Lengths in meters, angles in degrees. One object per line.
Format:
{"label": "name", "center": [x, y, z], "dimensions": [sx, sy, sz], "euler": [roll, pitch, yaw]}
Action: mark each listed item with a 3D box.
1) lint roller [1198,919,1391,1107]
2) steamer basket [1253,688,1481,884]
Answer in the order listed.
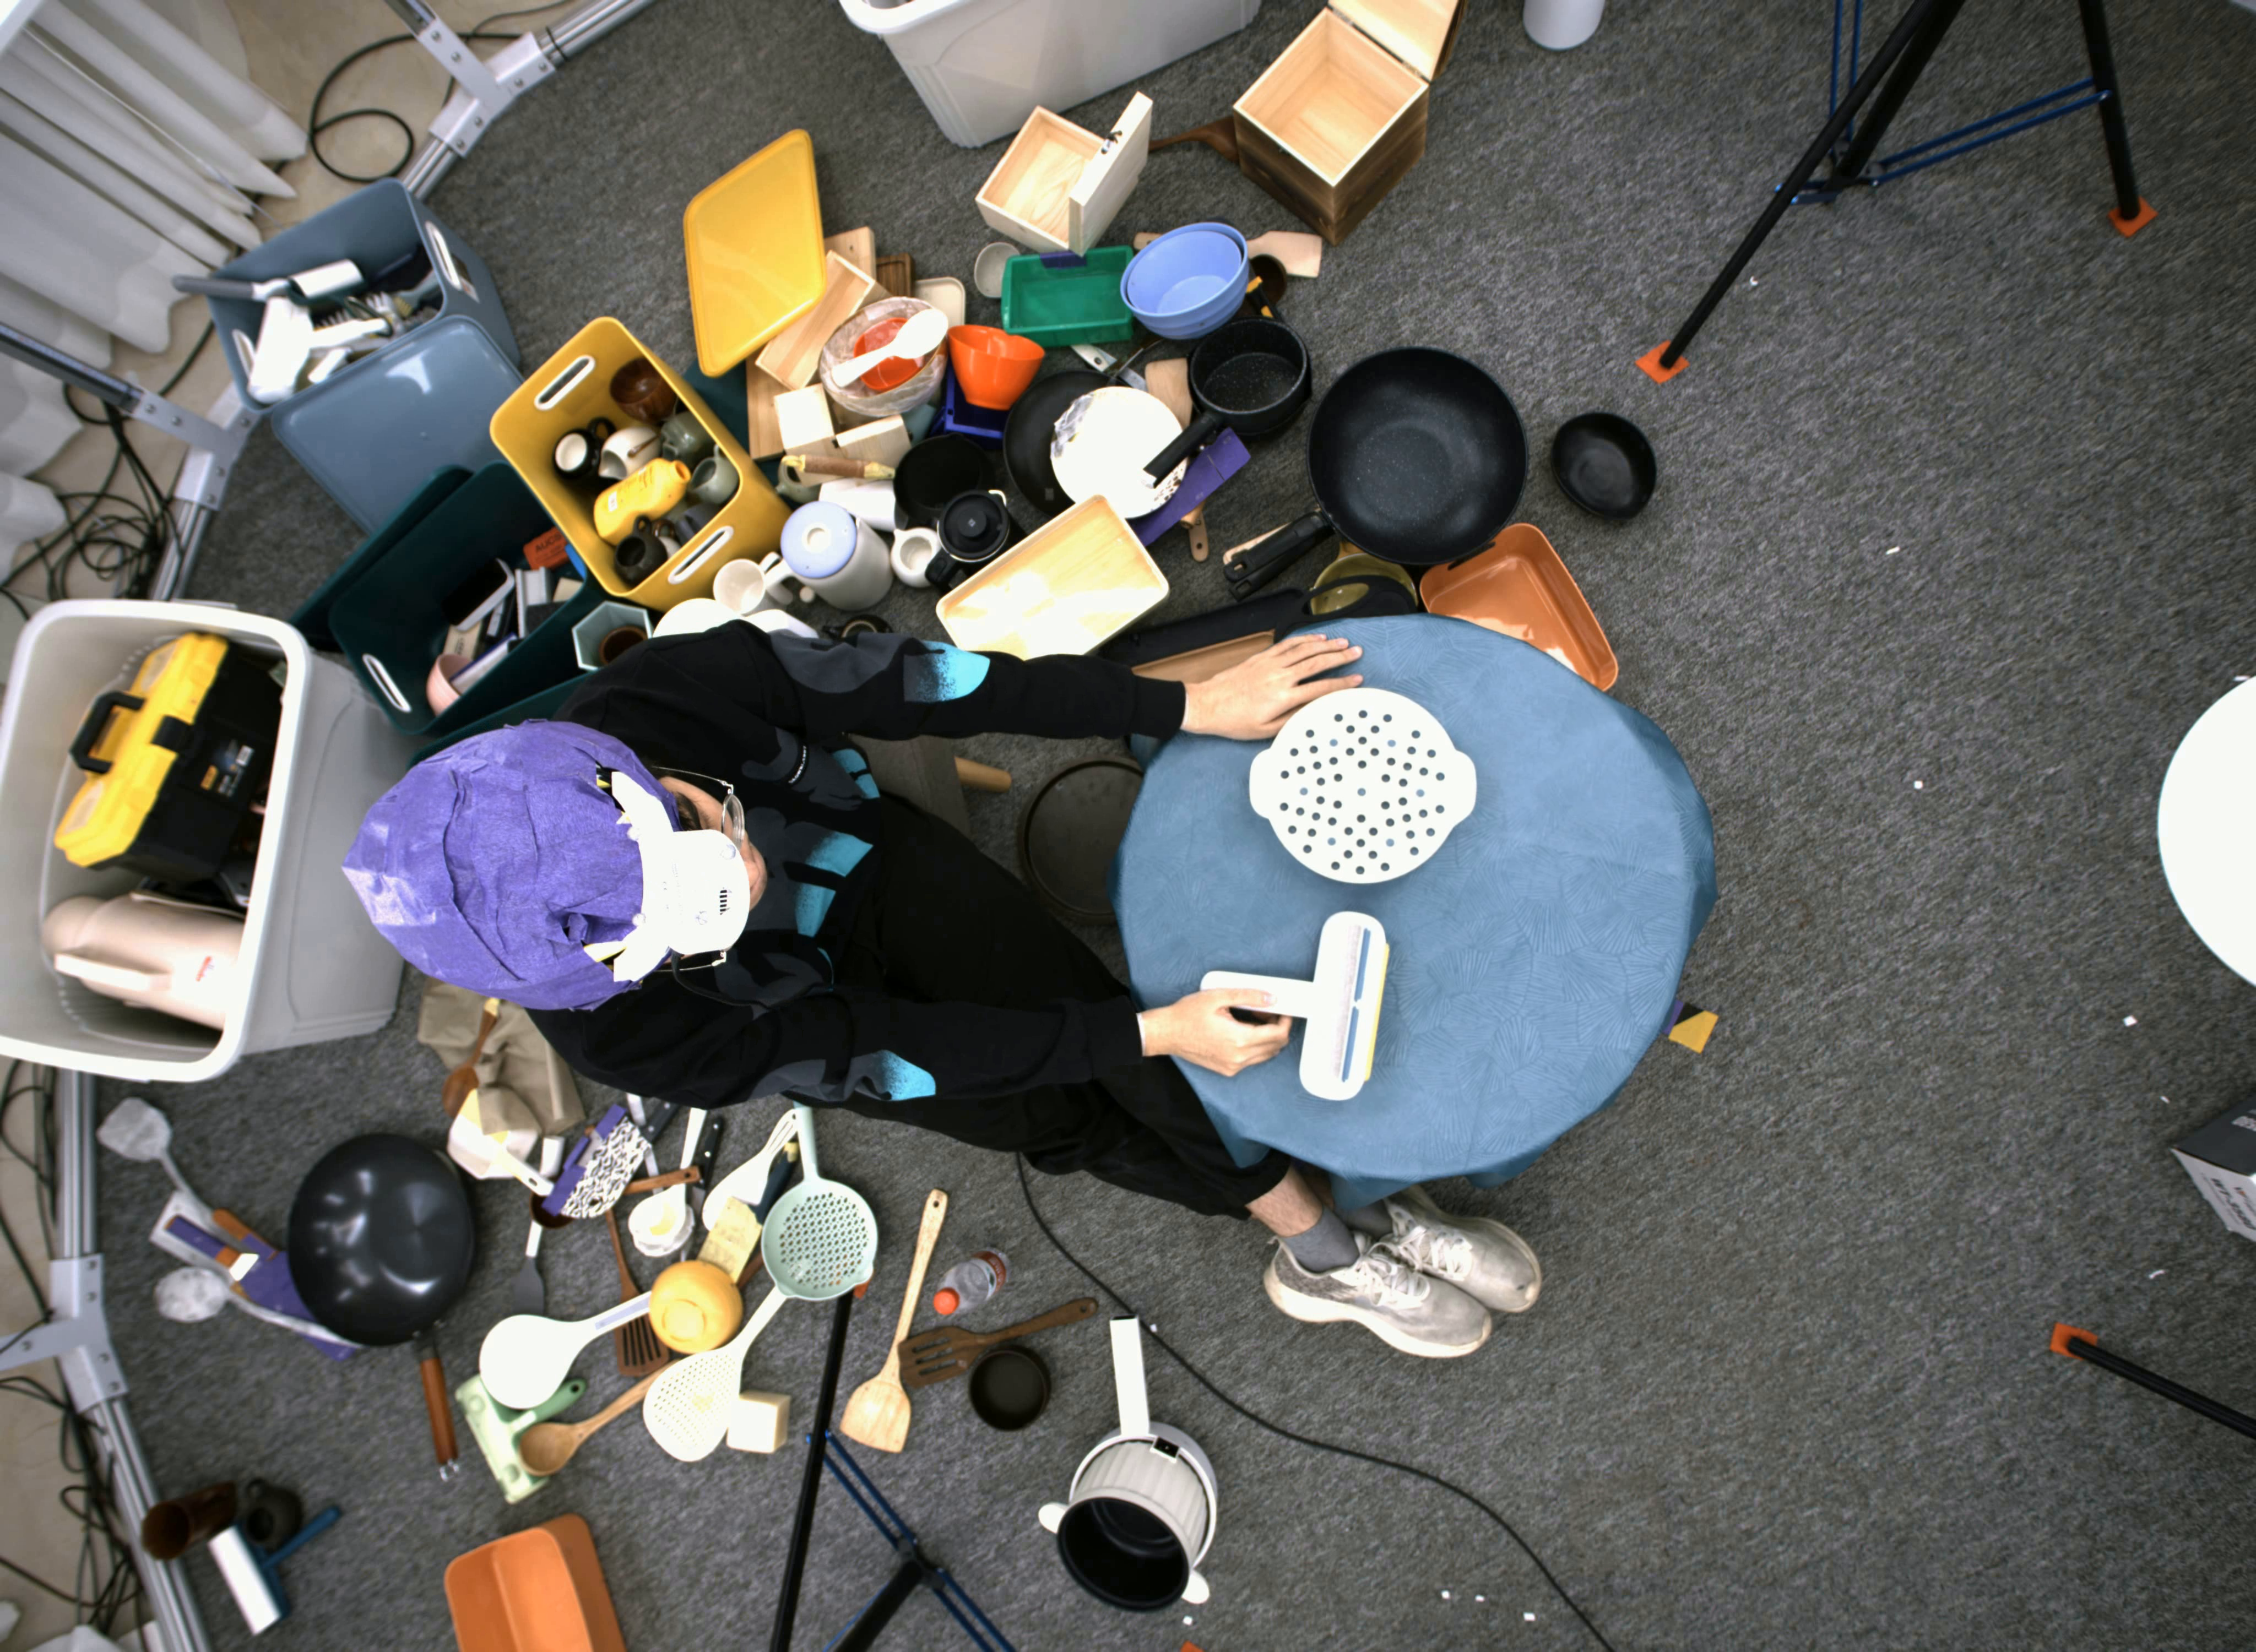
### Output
{"label": "lint roller", "center": [0.164, 0.179, 1.435], "dimensions": [0.193, 0.074, 0.191], "euler": [12, 83, 13]}
{"label": "steamer basket", "center": [0.248, -0.040, 1.433], "dimensions": [0.231, 0.069, 0.201], "euler": [1, 86, 13]}
